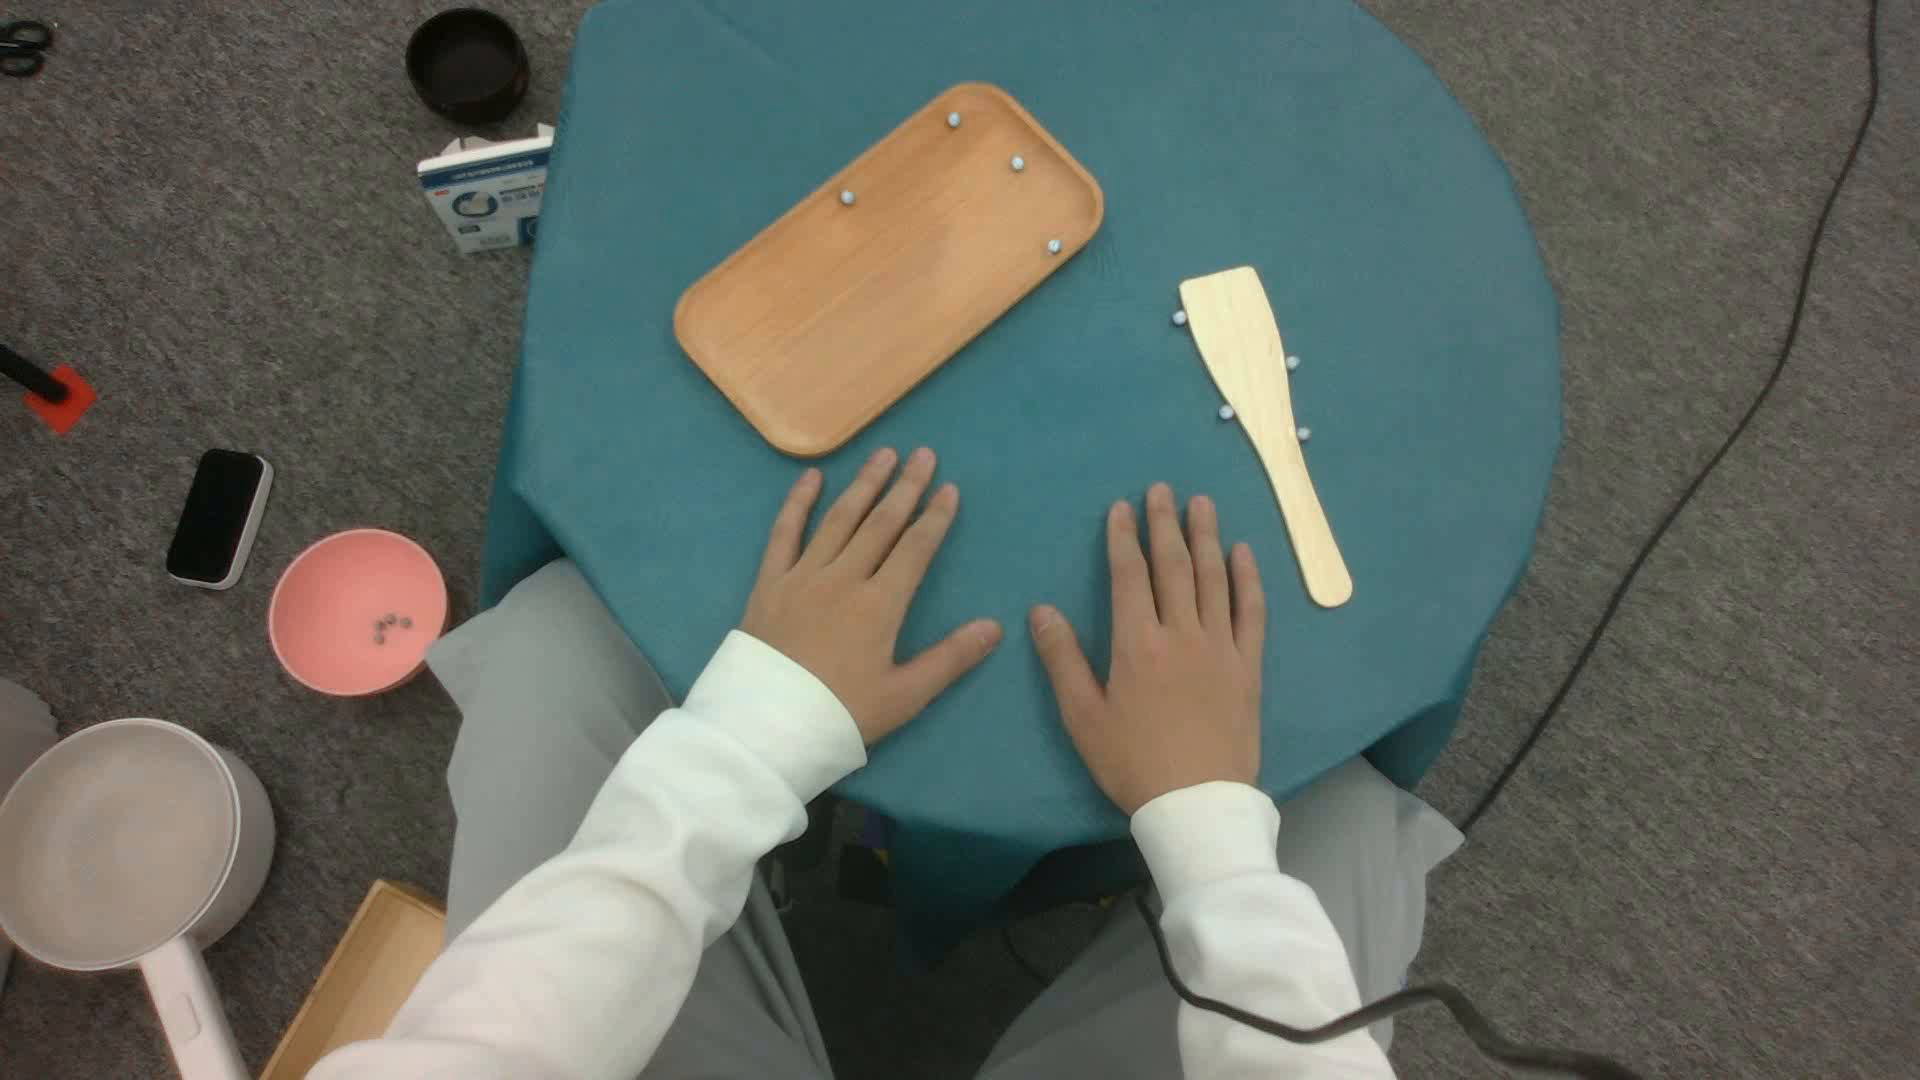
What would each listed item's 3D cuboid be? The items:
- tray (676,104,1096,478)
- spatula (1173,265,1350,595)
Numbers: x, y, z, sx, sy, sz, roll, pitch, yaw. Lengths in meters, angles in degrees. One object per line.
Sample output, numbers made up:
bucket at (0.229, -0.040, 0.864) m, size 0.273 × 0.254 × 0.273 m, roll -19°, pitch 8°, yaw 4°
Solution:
tray at (-0.041, -0.149, 0.809) m, size 0.251 × 0.023 × 0.130 m, roll -43°, pitch 76°, yaw -13°
spatula at (0.177, -0.065, 0.792) m, size 0.050 × 0.005 × 0.208 m, roll -16°, pitch 72°, yaw -6°
